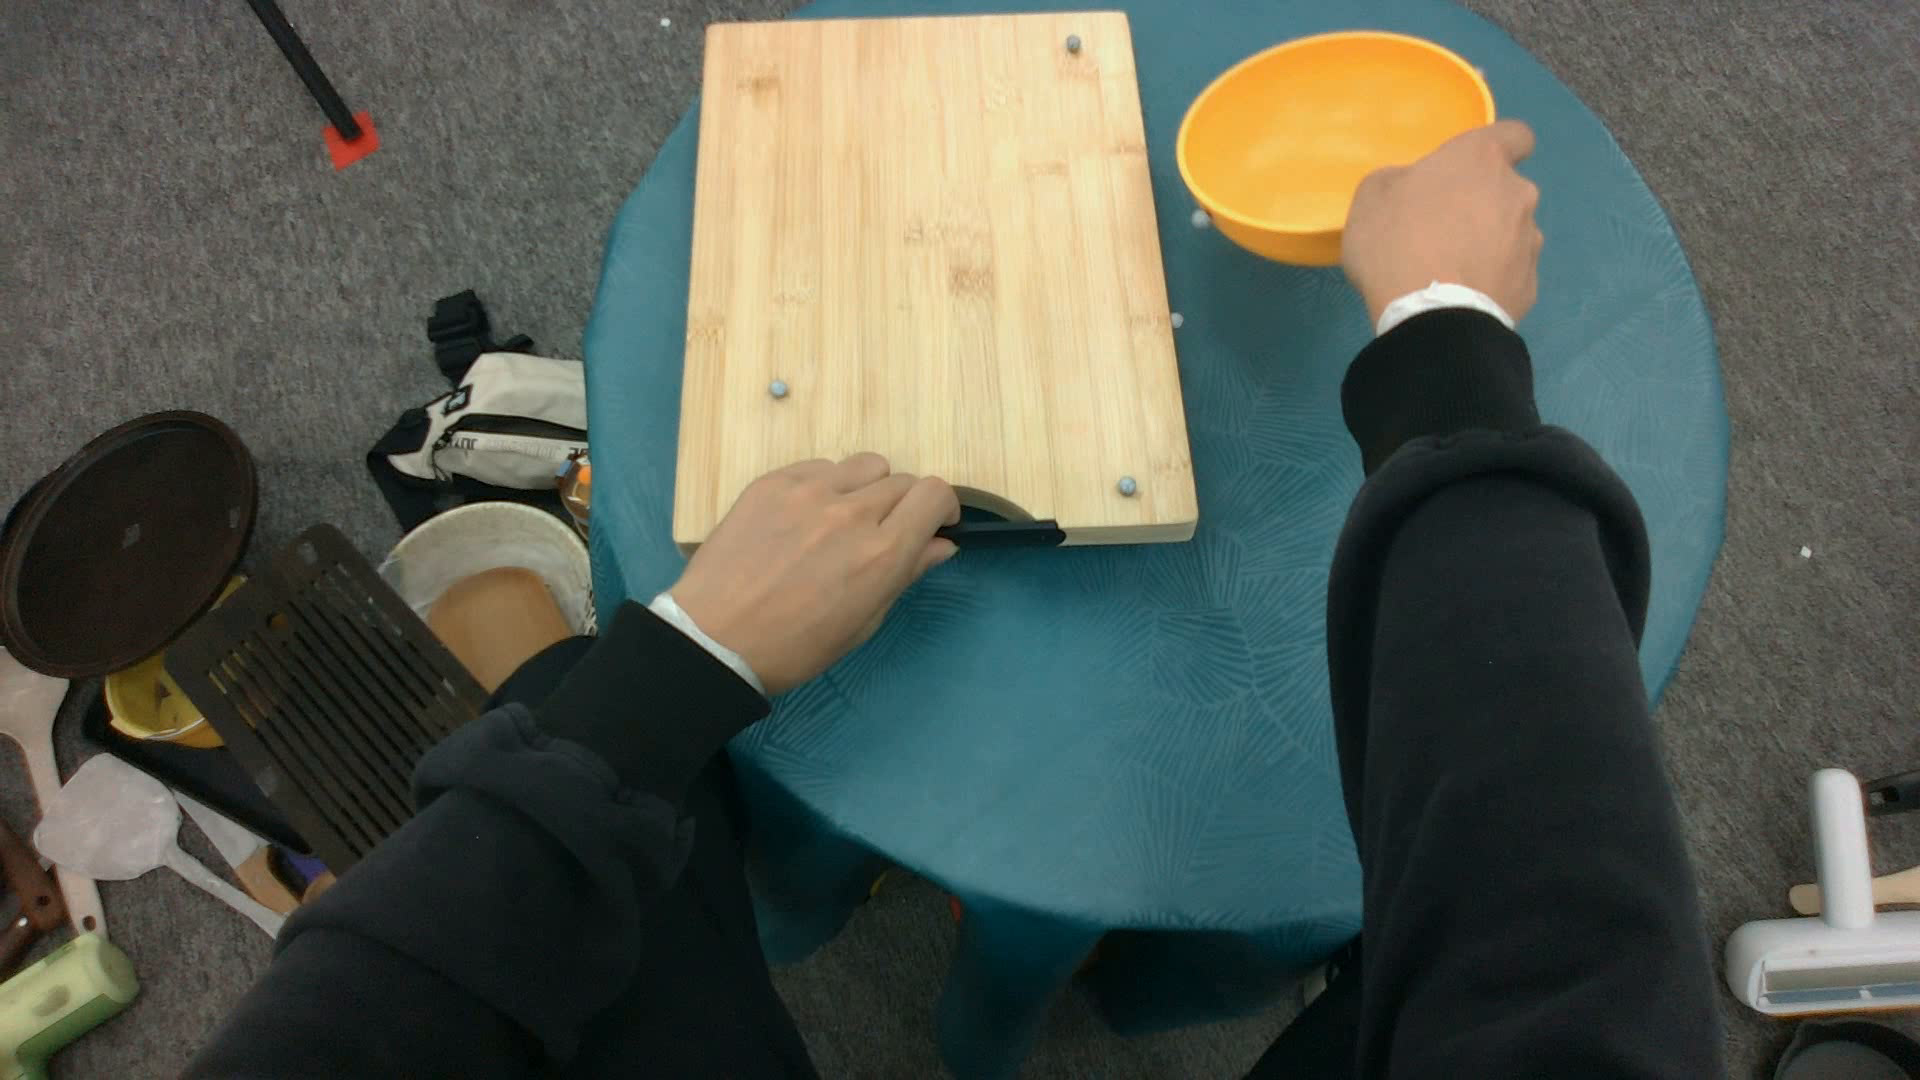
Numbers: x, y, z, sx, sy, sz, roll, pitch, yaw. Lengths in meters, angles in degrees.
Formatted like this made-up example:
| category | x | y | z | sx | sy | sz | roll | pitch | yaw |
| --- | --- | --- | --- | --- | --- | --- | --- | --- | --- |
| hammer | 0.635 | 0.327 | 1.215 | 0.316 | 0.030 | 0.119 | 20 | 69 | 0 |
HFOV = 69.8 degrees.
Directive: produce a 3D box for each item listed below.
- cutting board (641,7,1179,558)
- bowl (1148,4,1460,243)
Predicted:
| category | x | y | z | sx | sy | sz | roll | pitch | yaw |
| --- | --- | --- | --- | --- | --- | --- | --- | --- | --- |
| cutting board | -0.030 | -0.150 | 0.709 | 0.251 | 0.023 | 0.350 | -3 | 60 | -2 |
| bowl | 0.169 | -0.193 | 0.677 | 0.145 | 0.060 | 0.146 | -8 | 55 | 12 |
